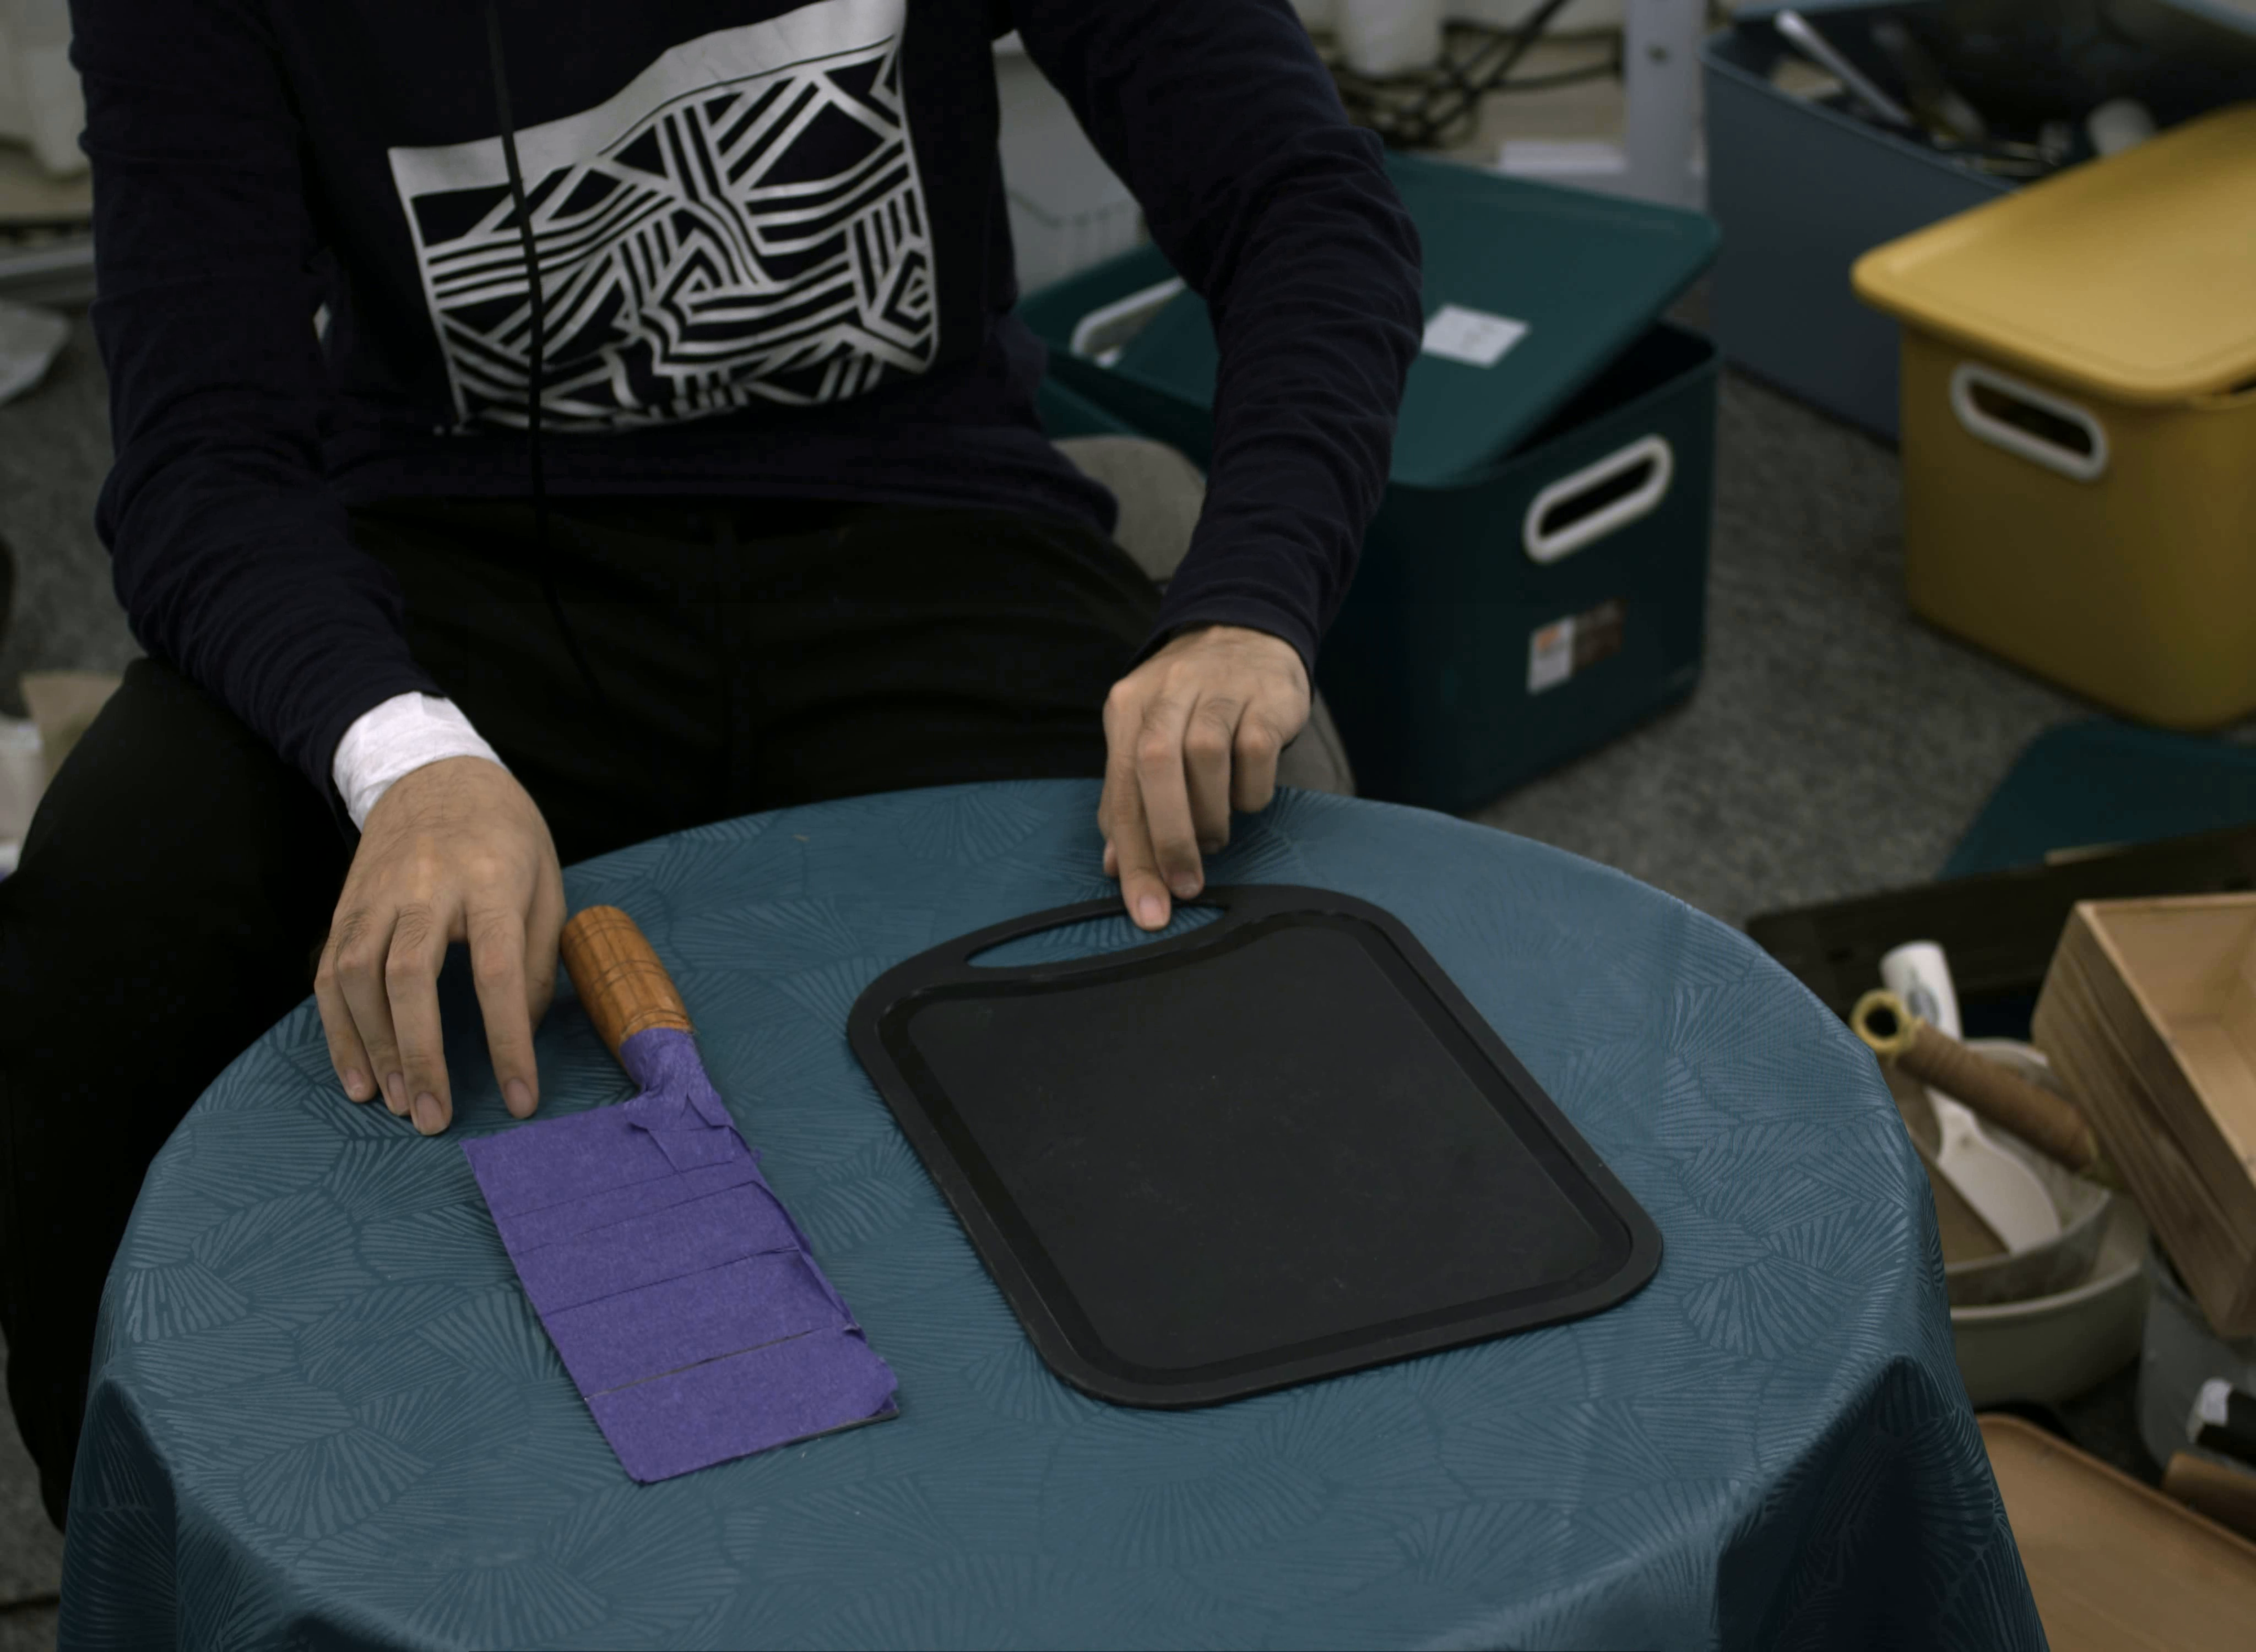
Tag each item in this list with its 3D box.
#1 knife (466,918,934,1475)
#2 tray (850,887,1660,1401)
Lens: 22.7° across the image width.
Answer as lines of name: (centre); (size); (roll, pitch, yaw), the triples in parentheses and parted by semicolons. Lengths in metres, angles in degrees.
knife: (-0.164, 0.118, 1.856); (0.104, 0.032, 0.318); (-12, 29, -18)
tray: (0.033, 0.098, 1.897); (0.211, 0.009, 0.328); (-11, 28, -16)
